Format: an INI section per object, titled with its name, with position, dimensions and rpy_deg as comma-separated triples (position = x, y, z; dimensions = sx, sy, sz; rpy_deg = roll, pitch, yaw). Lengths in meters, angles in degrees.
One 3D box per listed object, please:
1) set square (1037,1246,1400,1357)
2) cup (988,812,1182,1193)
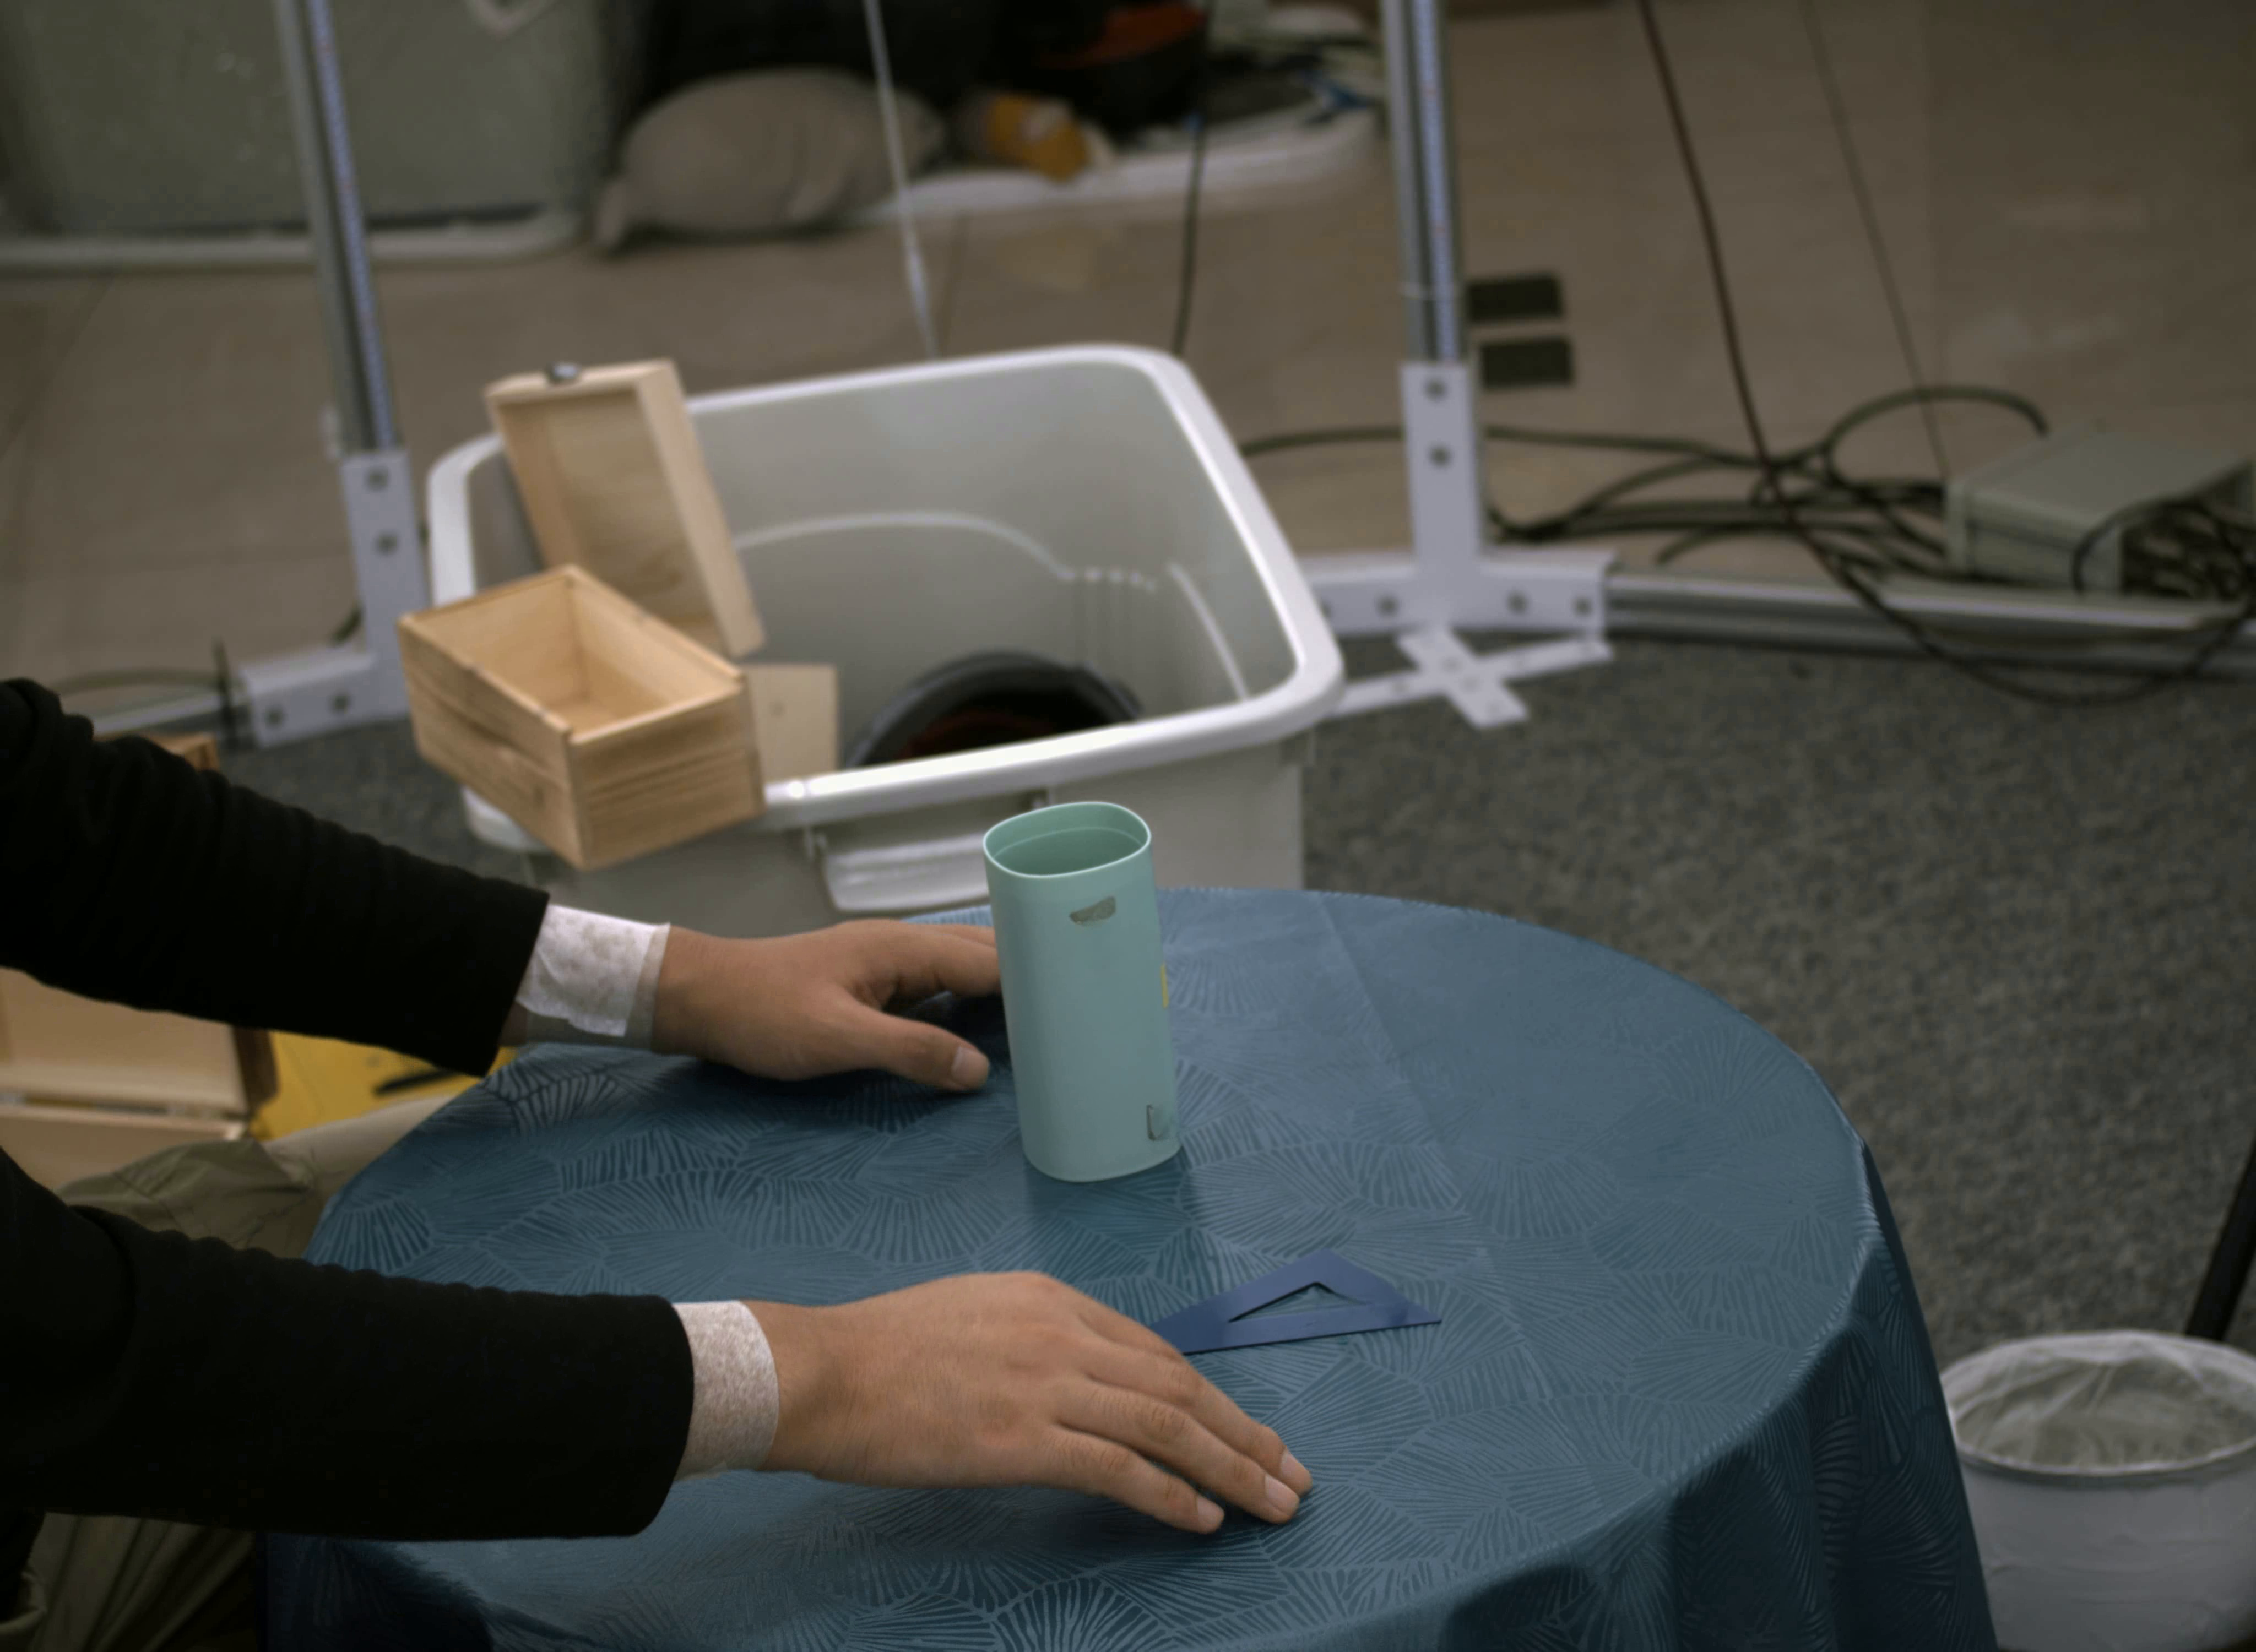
[set square]
position = 0.032, 0.171, 2.066
dimensions = 0.132, 0.006, 0.060
rpy_deg = -6, 27, 3
[cup]
position = -0.017, 0.067, 2.158
dimensions = 0.066, 0.134, 0.066
rpy_deg = -5, 26, 2
